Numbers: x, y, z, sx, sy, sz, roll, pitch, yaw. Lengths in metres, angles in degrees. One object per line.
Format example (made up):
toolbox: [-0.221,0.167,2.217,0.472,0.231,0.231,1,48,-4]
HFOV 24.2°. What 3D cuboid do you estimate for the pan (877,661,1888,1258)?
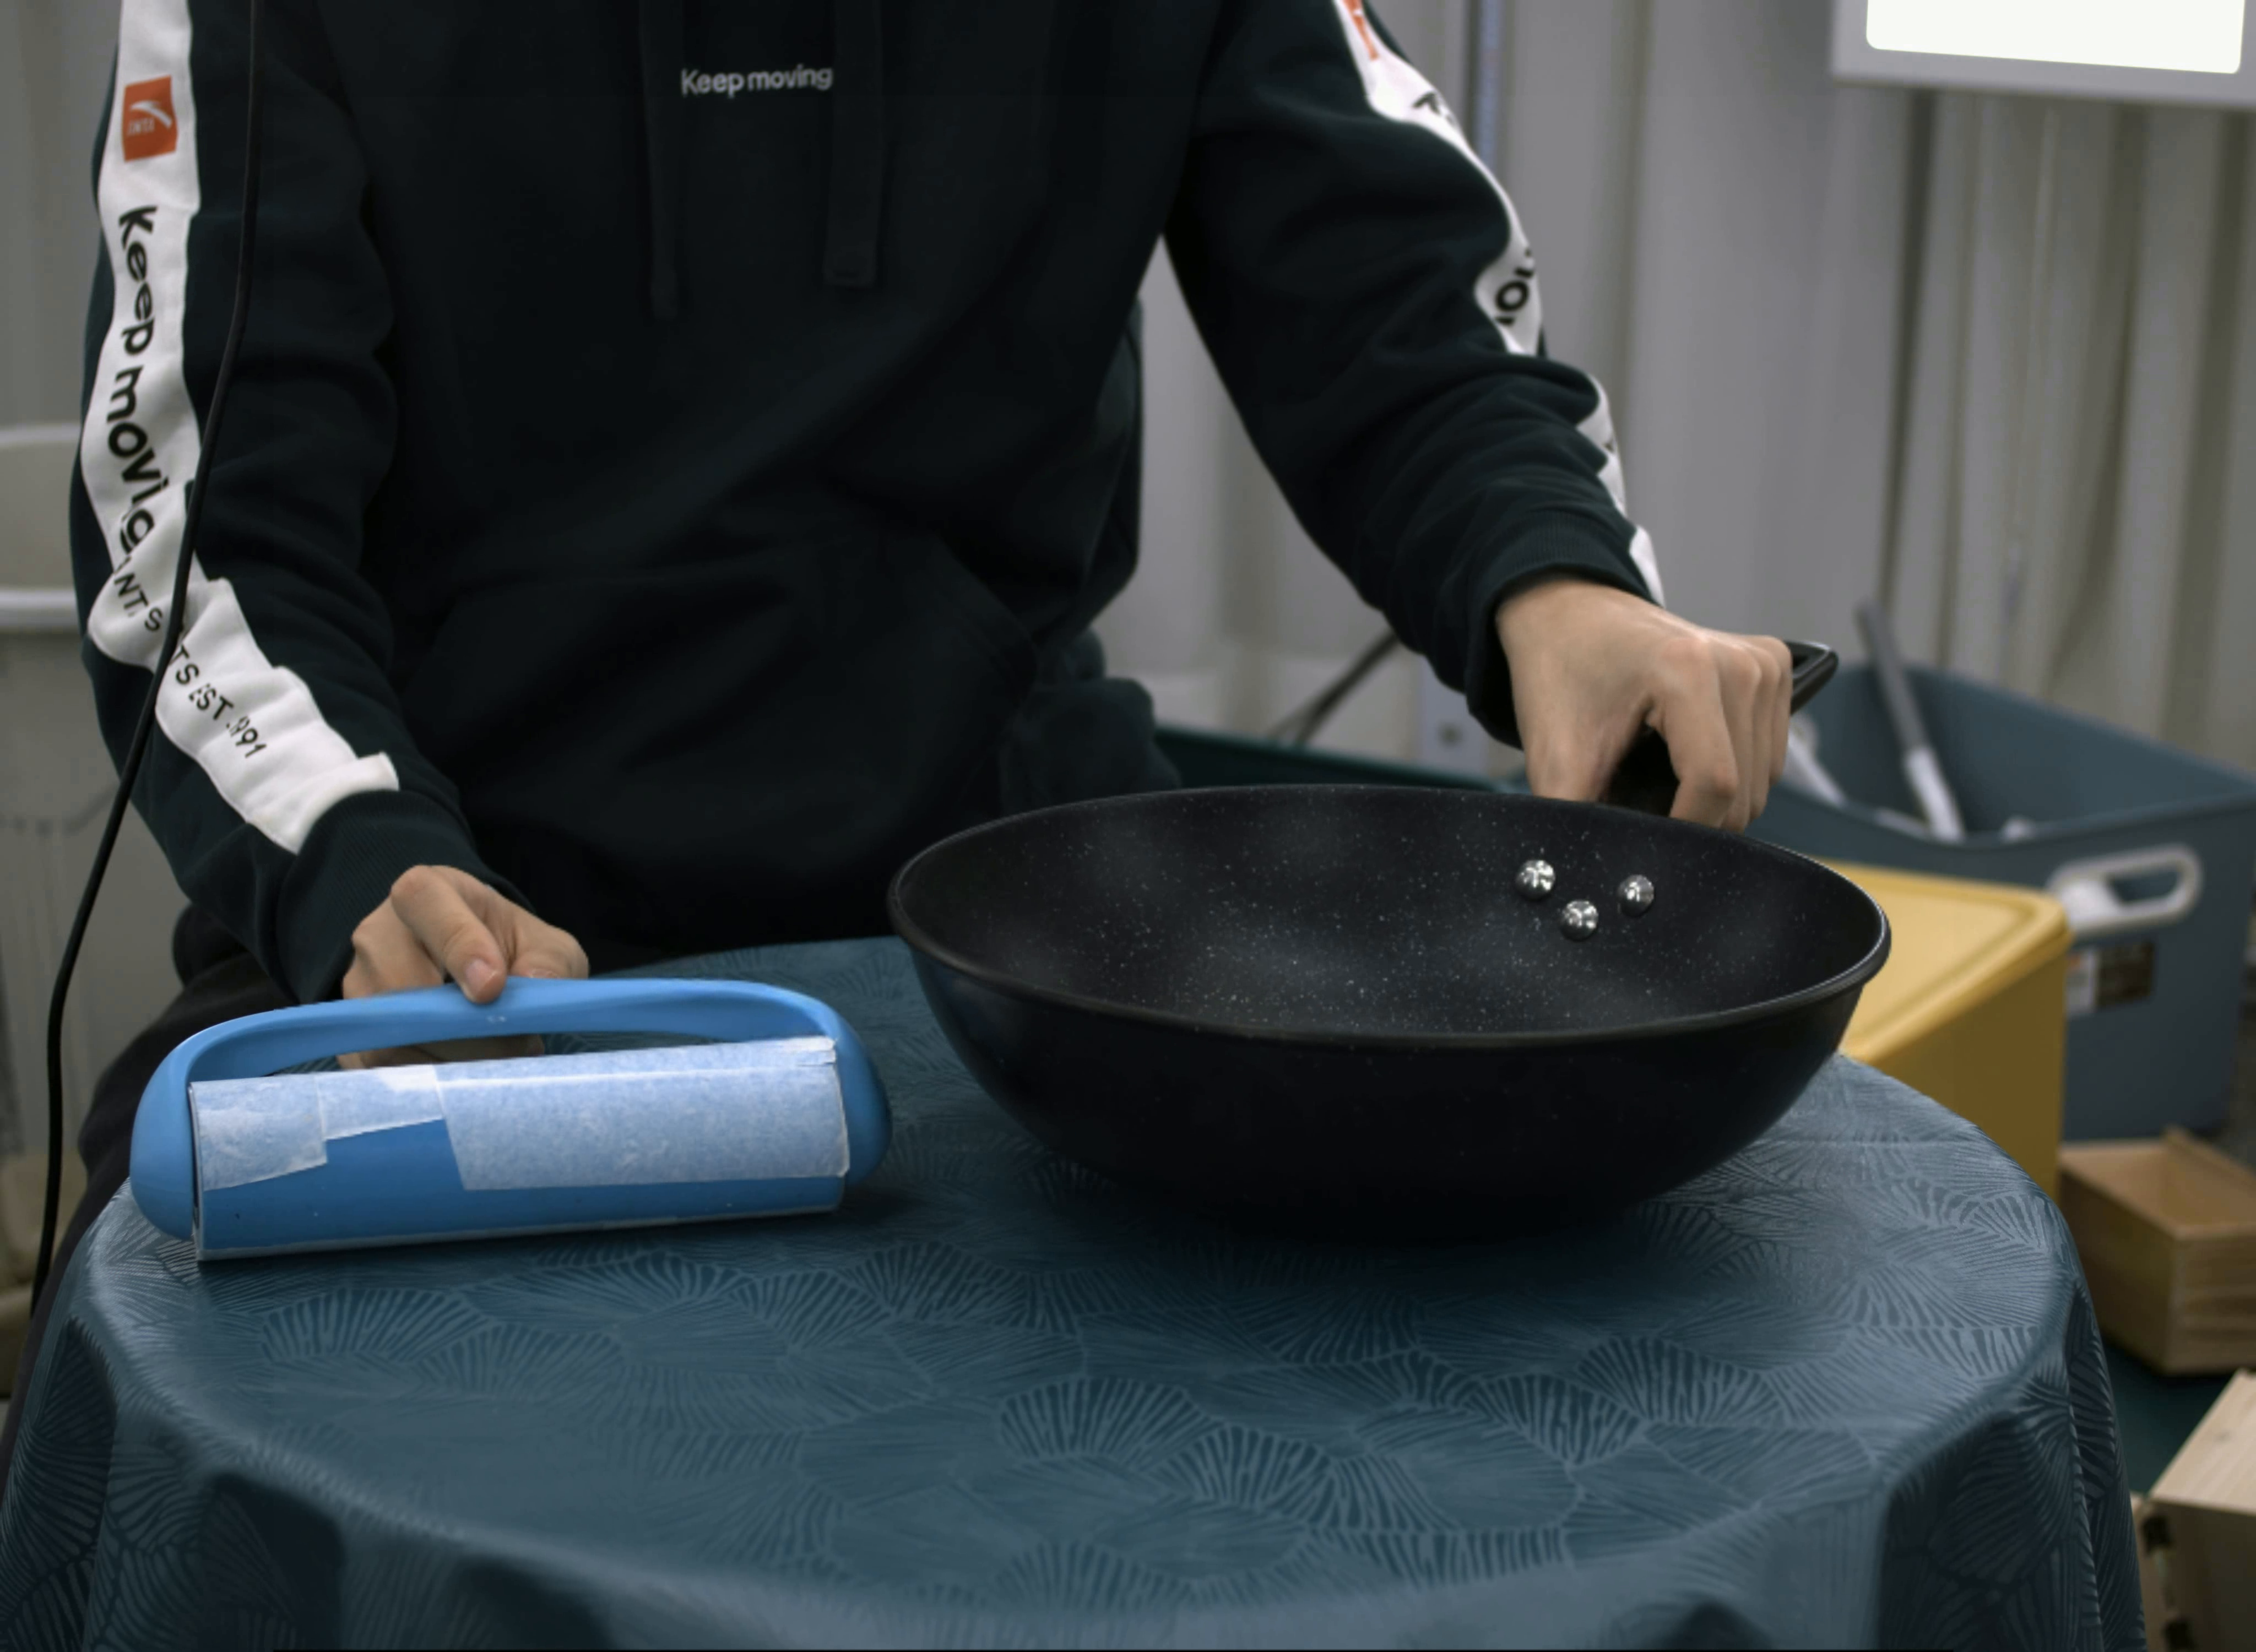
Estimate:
pan: [0.118,0.039,1.689,0.306,0.112,0.478,11,16,28]

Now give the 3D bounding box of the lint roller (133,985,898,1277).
lint roller: [-0.198,0.081,1.623,0.229,0.068,0.178,-7,18,-16]
